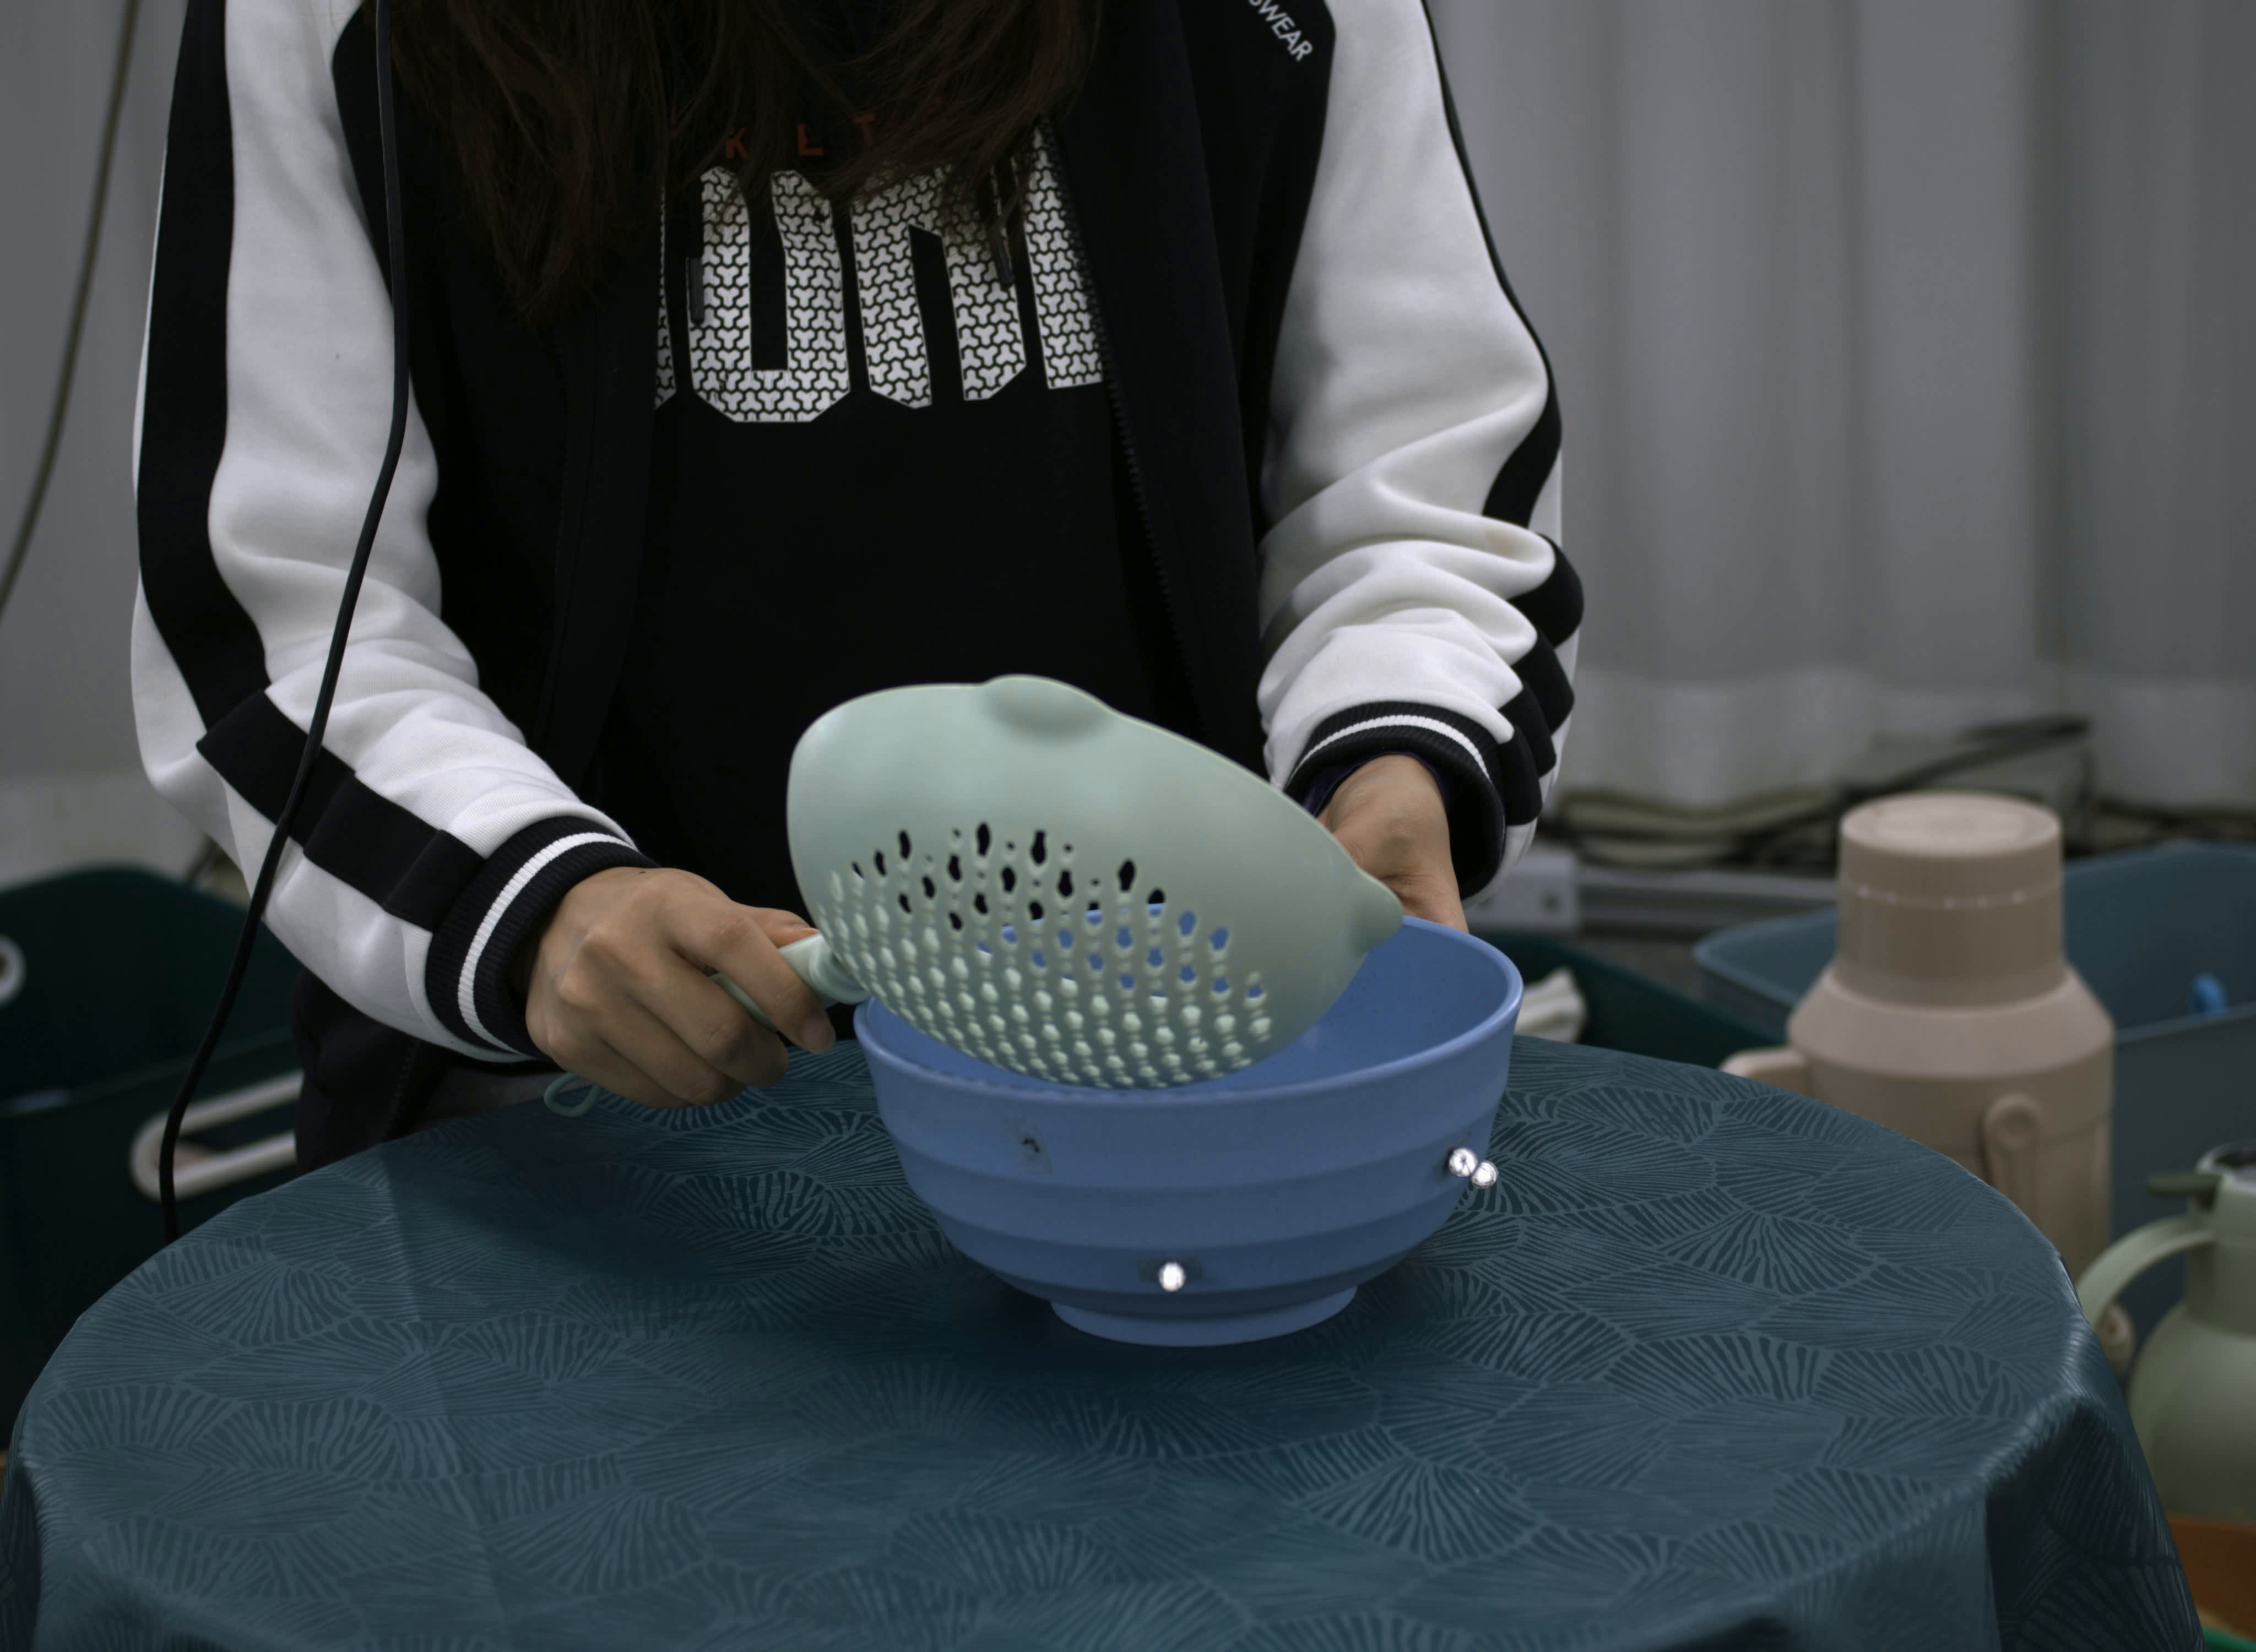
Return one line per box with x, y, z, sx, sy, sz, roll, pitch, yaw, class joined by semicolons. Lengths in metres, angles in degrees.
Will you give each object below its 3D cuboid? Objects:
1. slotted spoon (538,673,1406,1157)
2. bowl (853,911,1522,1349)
-0.073;0.044;1.587;0.168;0.076;0.358;33;-25;-25;slotted spoon
0.020;0.094;1.607;0.196;0.095;0.198;-3;14;1;bowl
